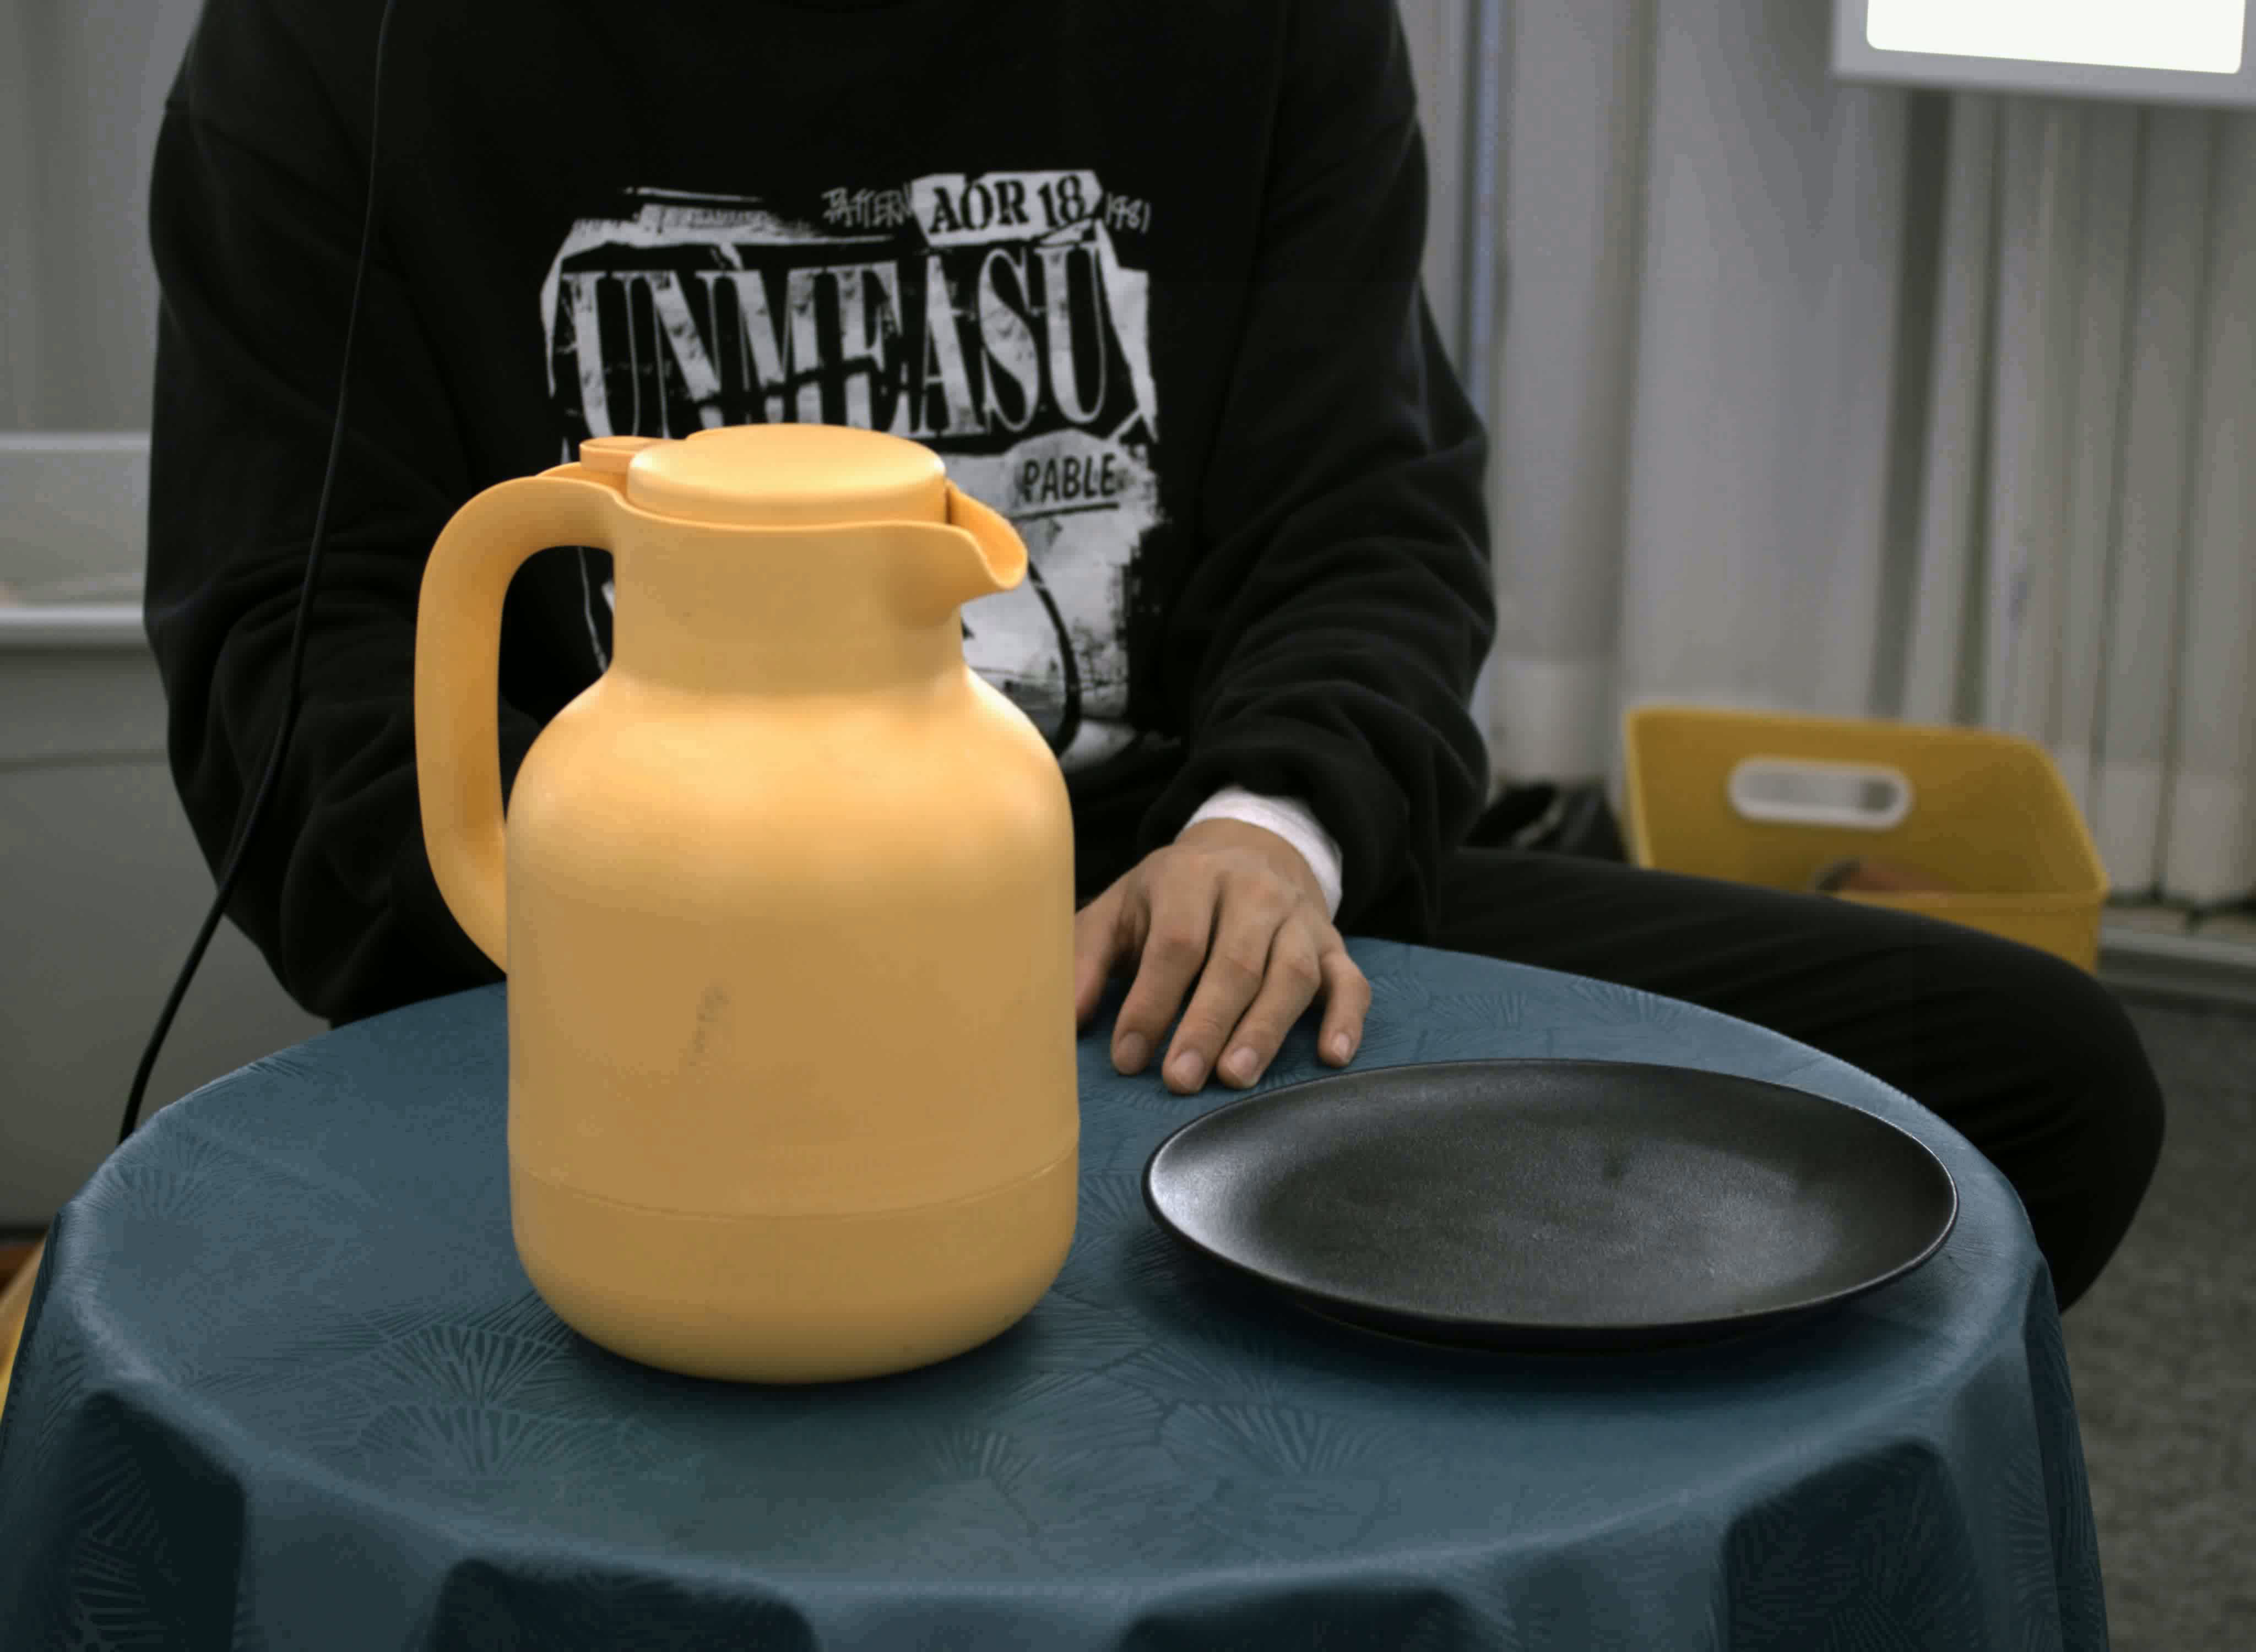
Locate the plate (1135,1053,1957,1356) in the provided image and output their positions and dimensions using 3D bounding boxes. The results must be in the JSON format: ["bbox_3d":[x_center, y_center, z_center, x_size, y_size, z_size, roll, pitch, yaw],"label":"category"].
[{"bbox_3d":[0.124,0.115,1.571,0.243,0.023,0.243,1,16,0],"label":"plate"}]

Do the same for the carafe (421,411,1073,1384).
[{"bbox_3d":[-0.111,0.012,1.488,0.200,0.262,0.164,11,17,30],"label":"carafe"}]
